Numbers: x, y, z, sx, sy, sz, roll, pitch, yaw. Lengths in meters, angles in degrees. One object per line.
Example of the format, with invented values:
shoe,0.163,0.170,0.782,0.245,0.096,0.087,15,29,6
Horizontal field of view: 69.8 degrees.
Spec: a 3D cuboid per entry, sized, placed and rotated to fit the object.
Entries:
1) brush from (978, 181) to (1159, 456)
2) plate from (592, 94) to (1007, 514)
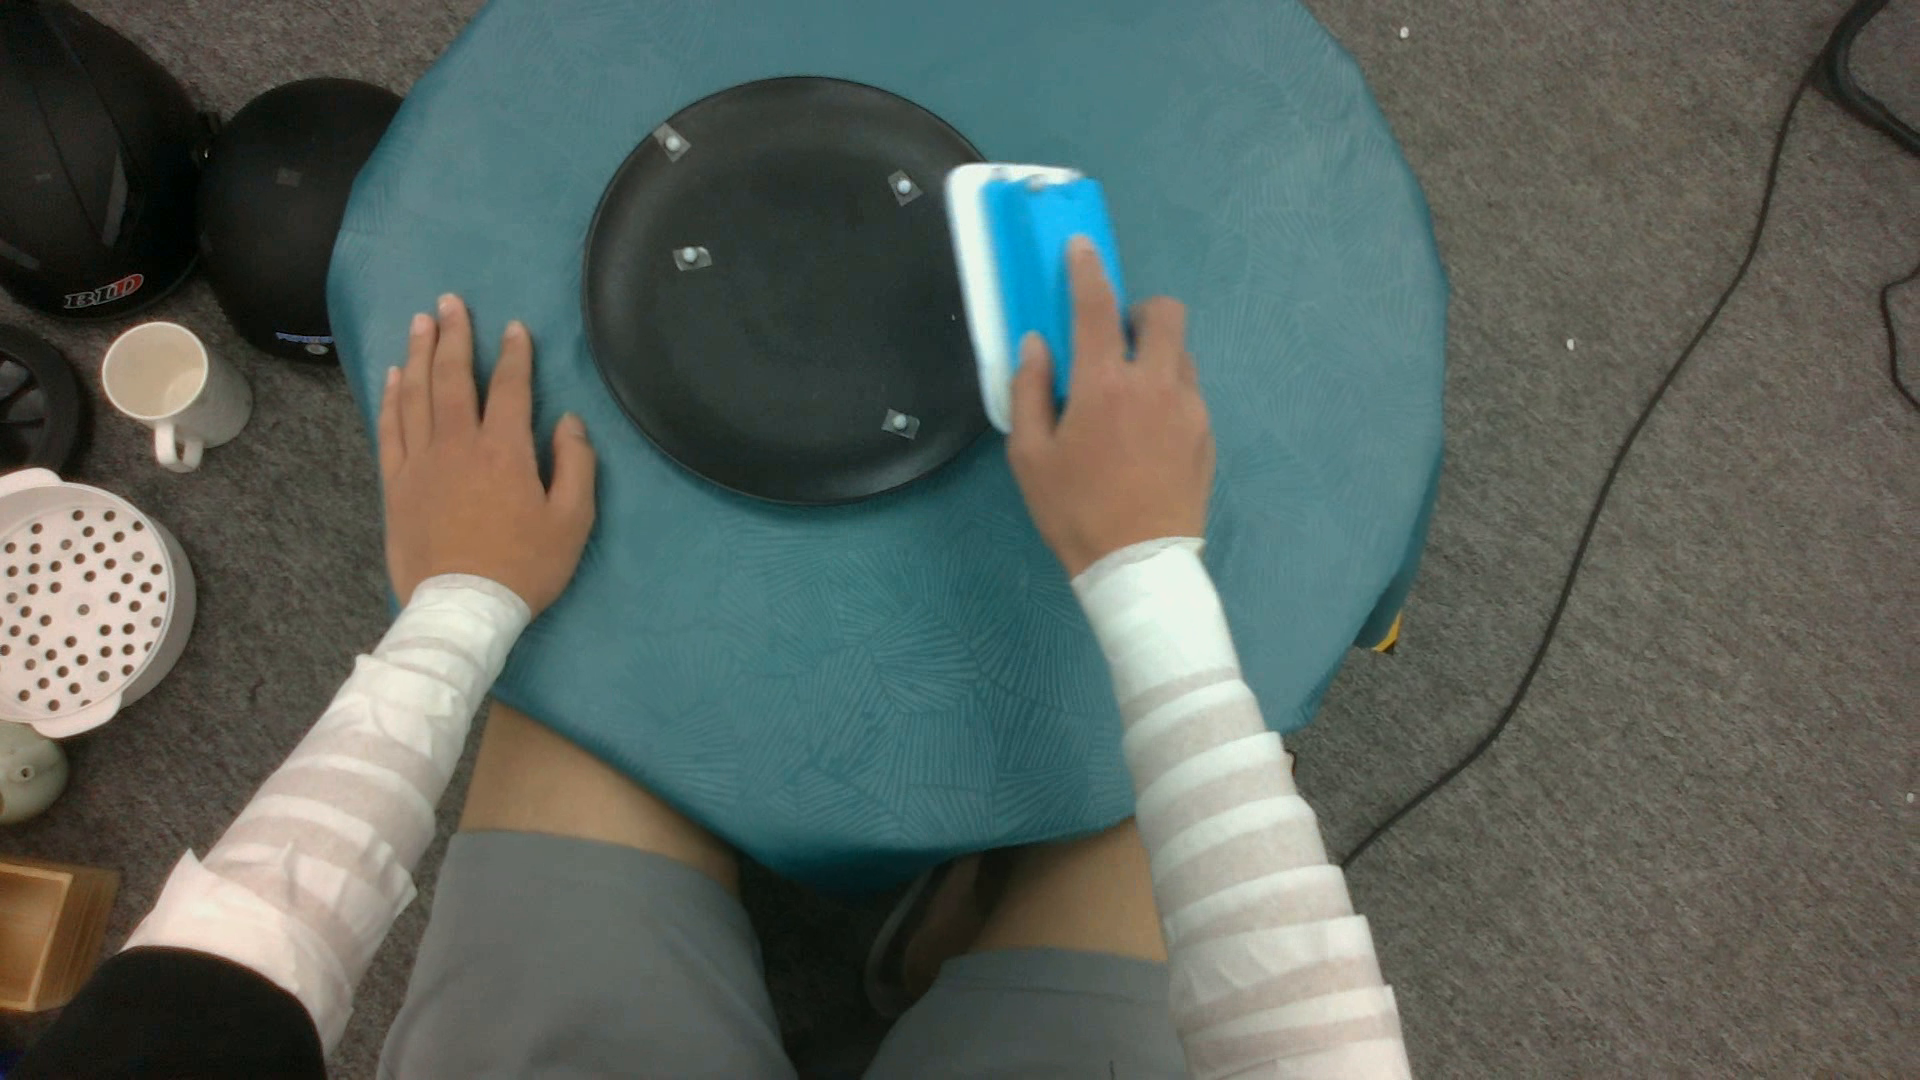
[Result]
brush,0.059,-0.115,0.683,0.084,0.056,0.144,-6,81,-23
plate,-0.077,-0.131,0.759,0.244,0.023,0.245,1,77,-6
